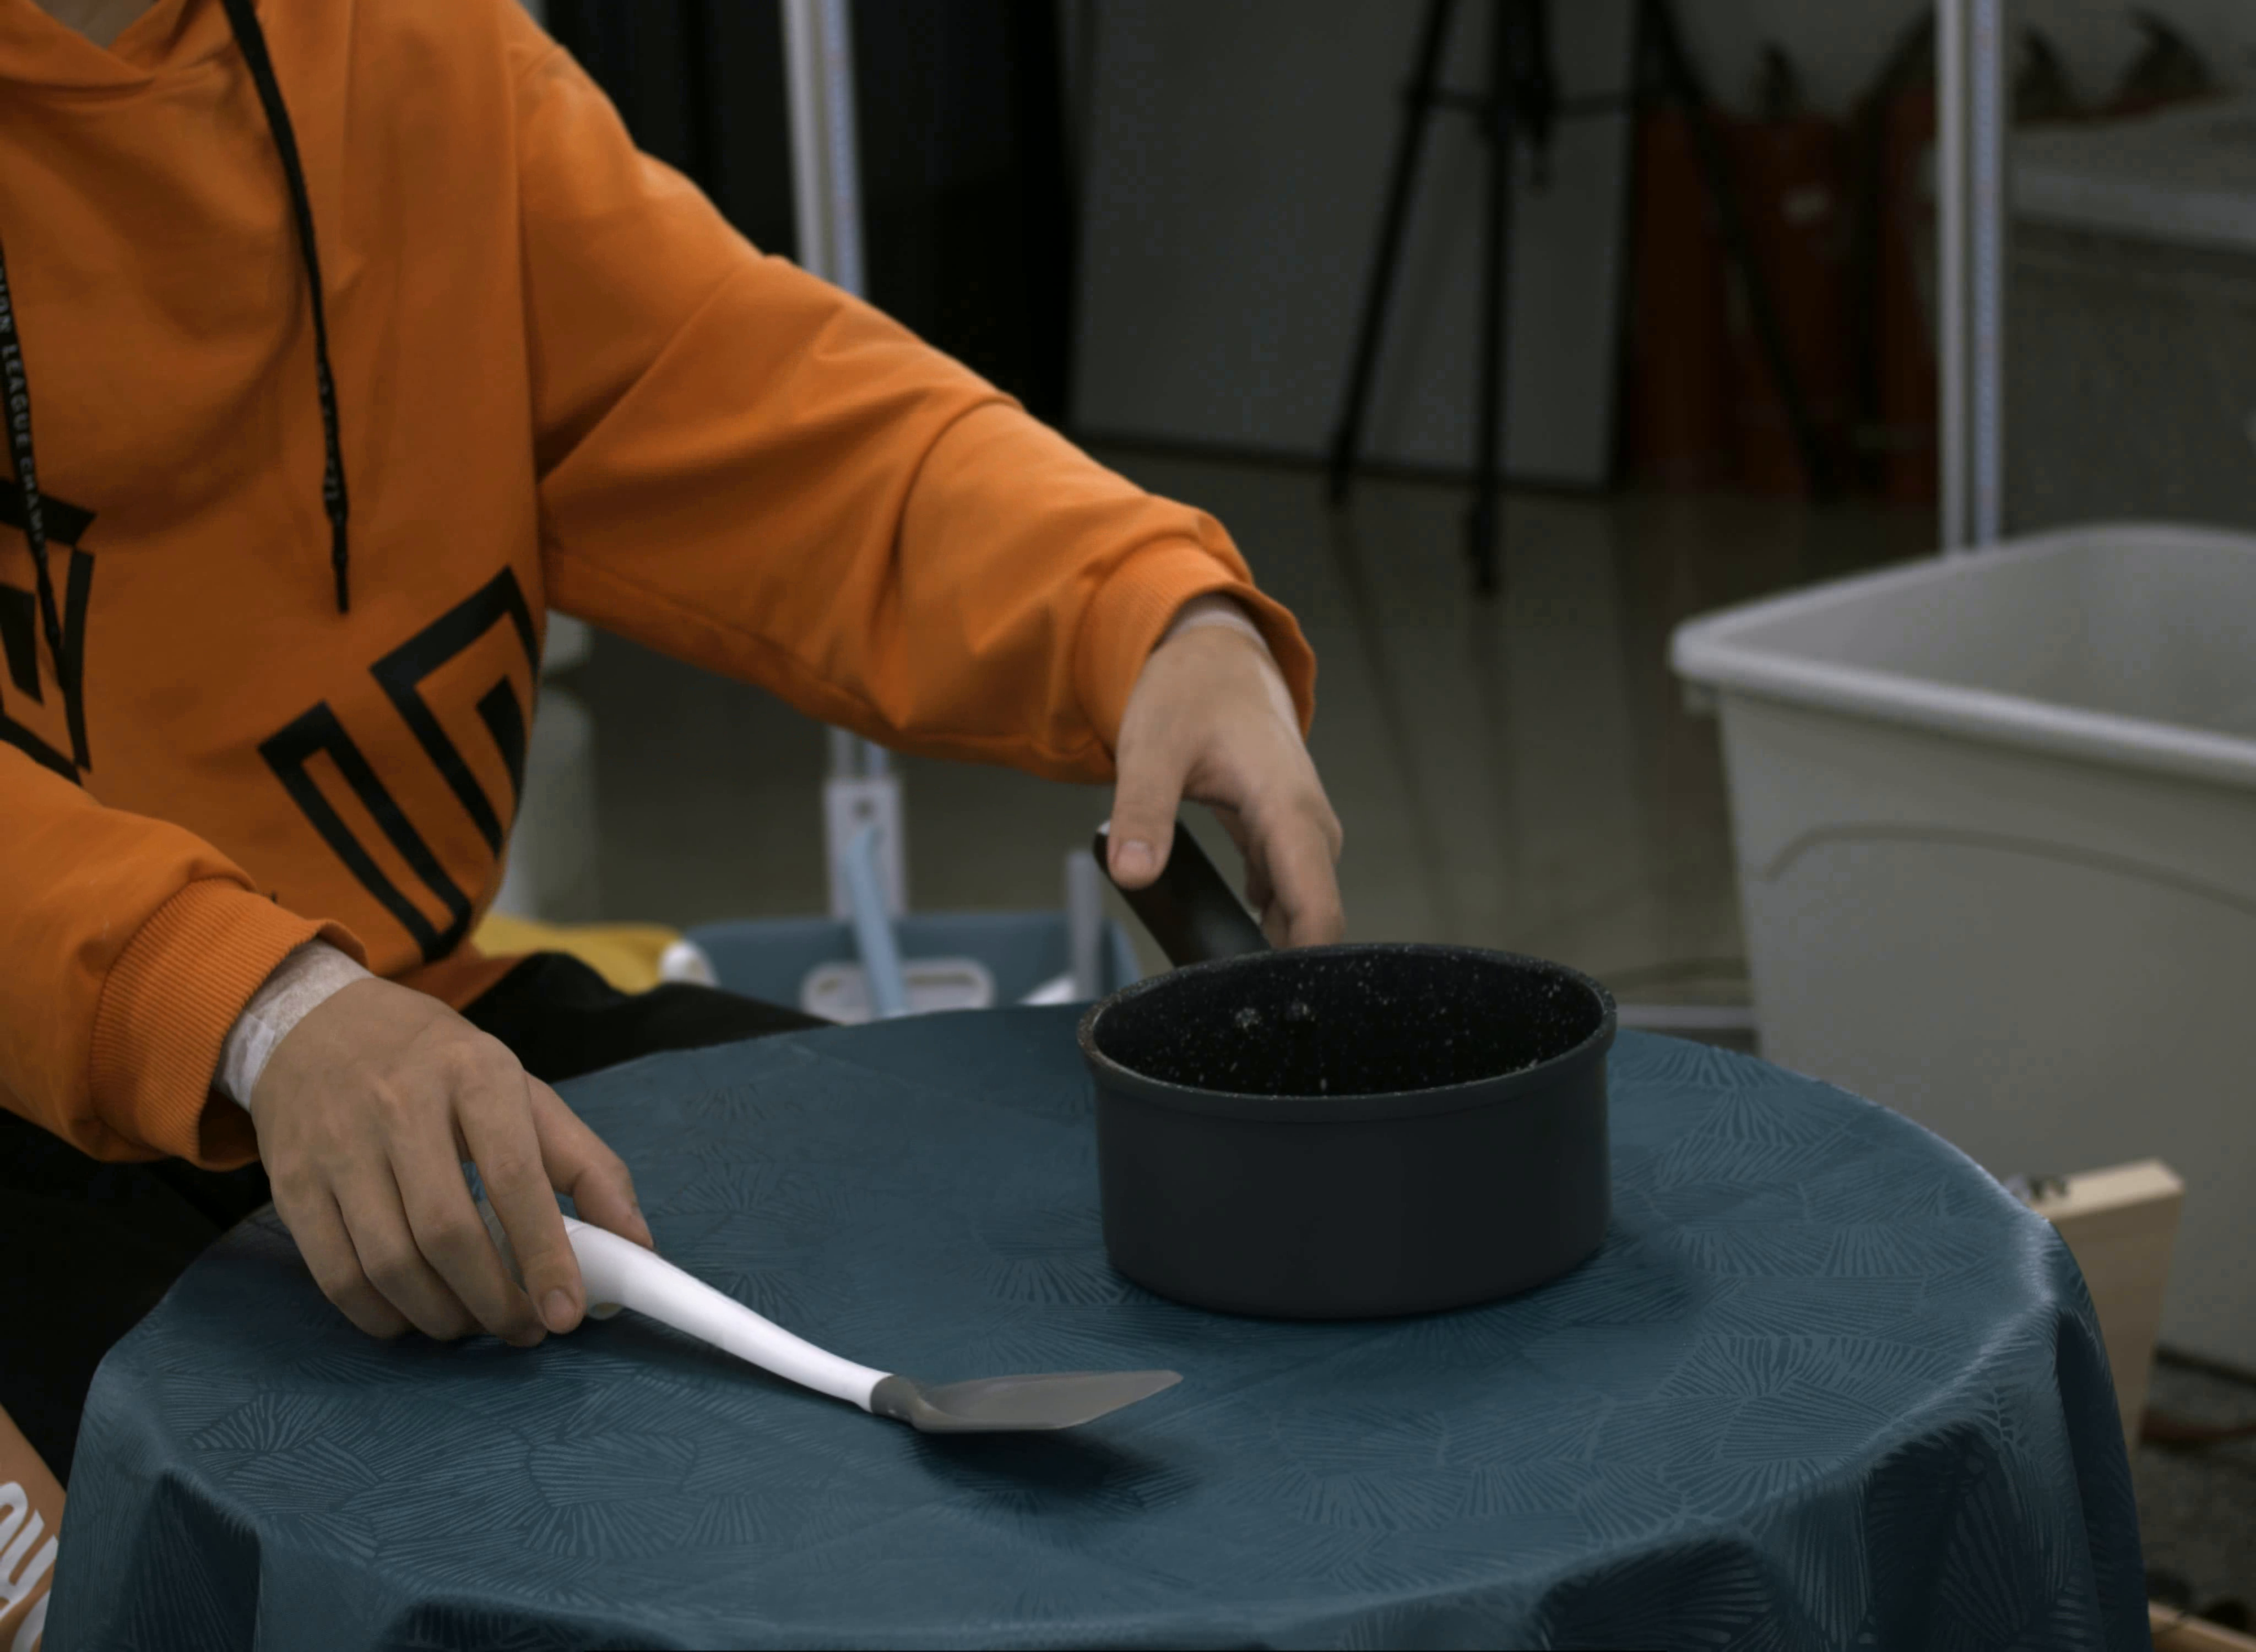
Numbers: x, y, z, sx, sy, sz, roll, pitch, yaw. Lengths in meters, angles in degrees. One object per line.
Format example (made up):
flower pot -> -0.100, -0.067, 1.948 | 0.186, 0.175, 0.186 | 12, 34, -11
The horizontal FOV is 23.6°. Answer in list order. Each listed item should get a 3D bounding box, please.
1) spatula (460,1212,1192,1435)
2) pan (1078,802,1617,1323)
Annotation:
spatula -> -0.097, 0.153, 1.605 | 0.057, 0.032, 0.290 | -11, 14, -44
pan -> 0.052, 0.074, 1.770 | 0.169, 0.087, 0.331 | -6, 16, -12
